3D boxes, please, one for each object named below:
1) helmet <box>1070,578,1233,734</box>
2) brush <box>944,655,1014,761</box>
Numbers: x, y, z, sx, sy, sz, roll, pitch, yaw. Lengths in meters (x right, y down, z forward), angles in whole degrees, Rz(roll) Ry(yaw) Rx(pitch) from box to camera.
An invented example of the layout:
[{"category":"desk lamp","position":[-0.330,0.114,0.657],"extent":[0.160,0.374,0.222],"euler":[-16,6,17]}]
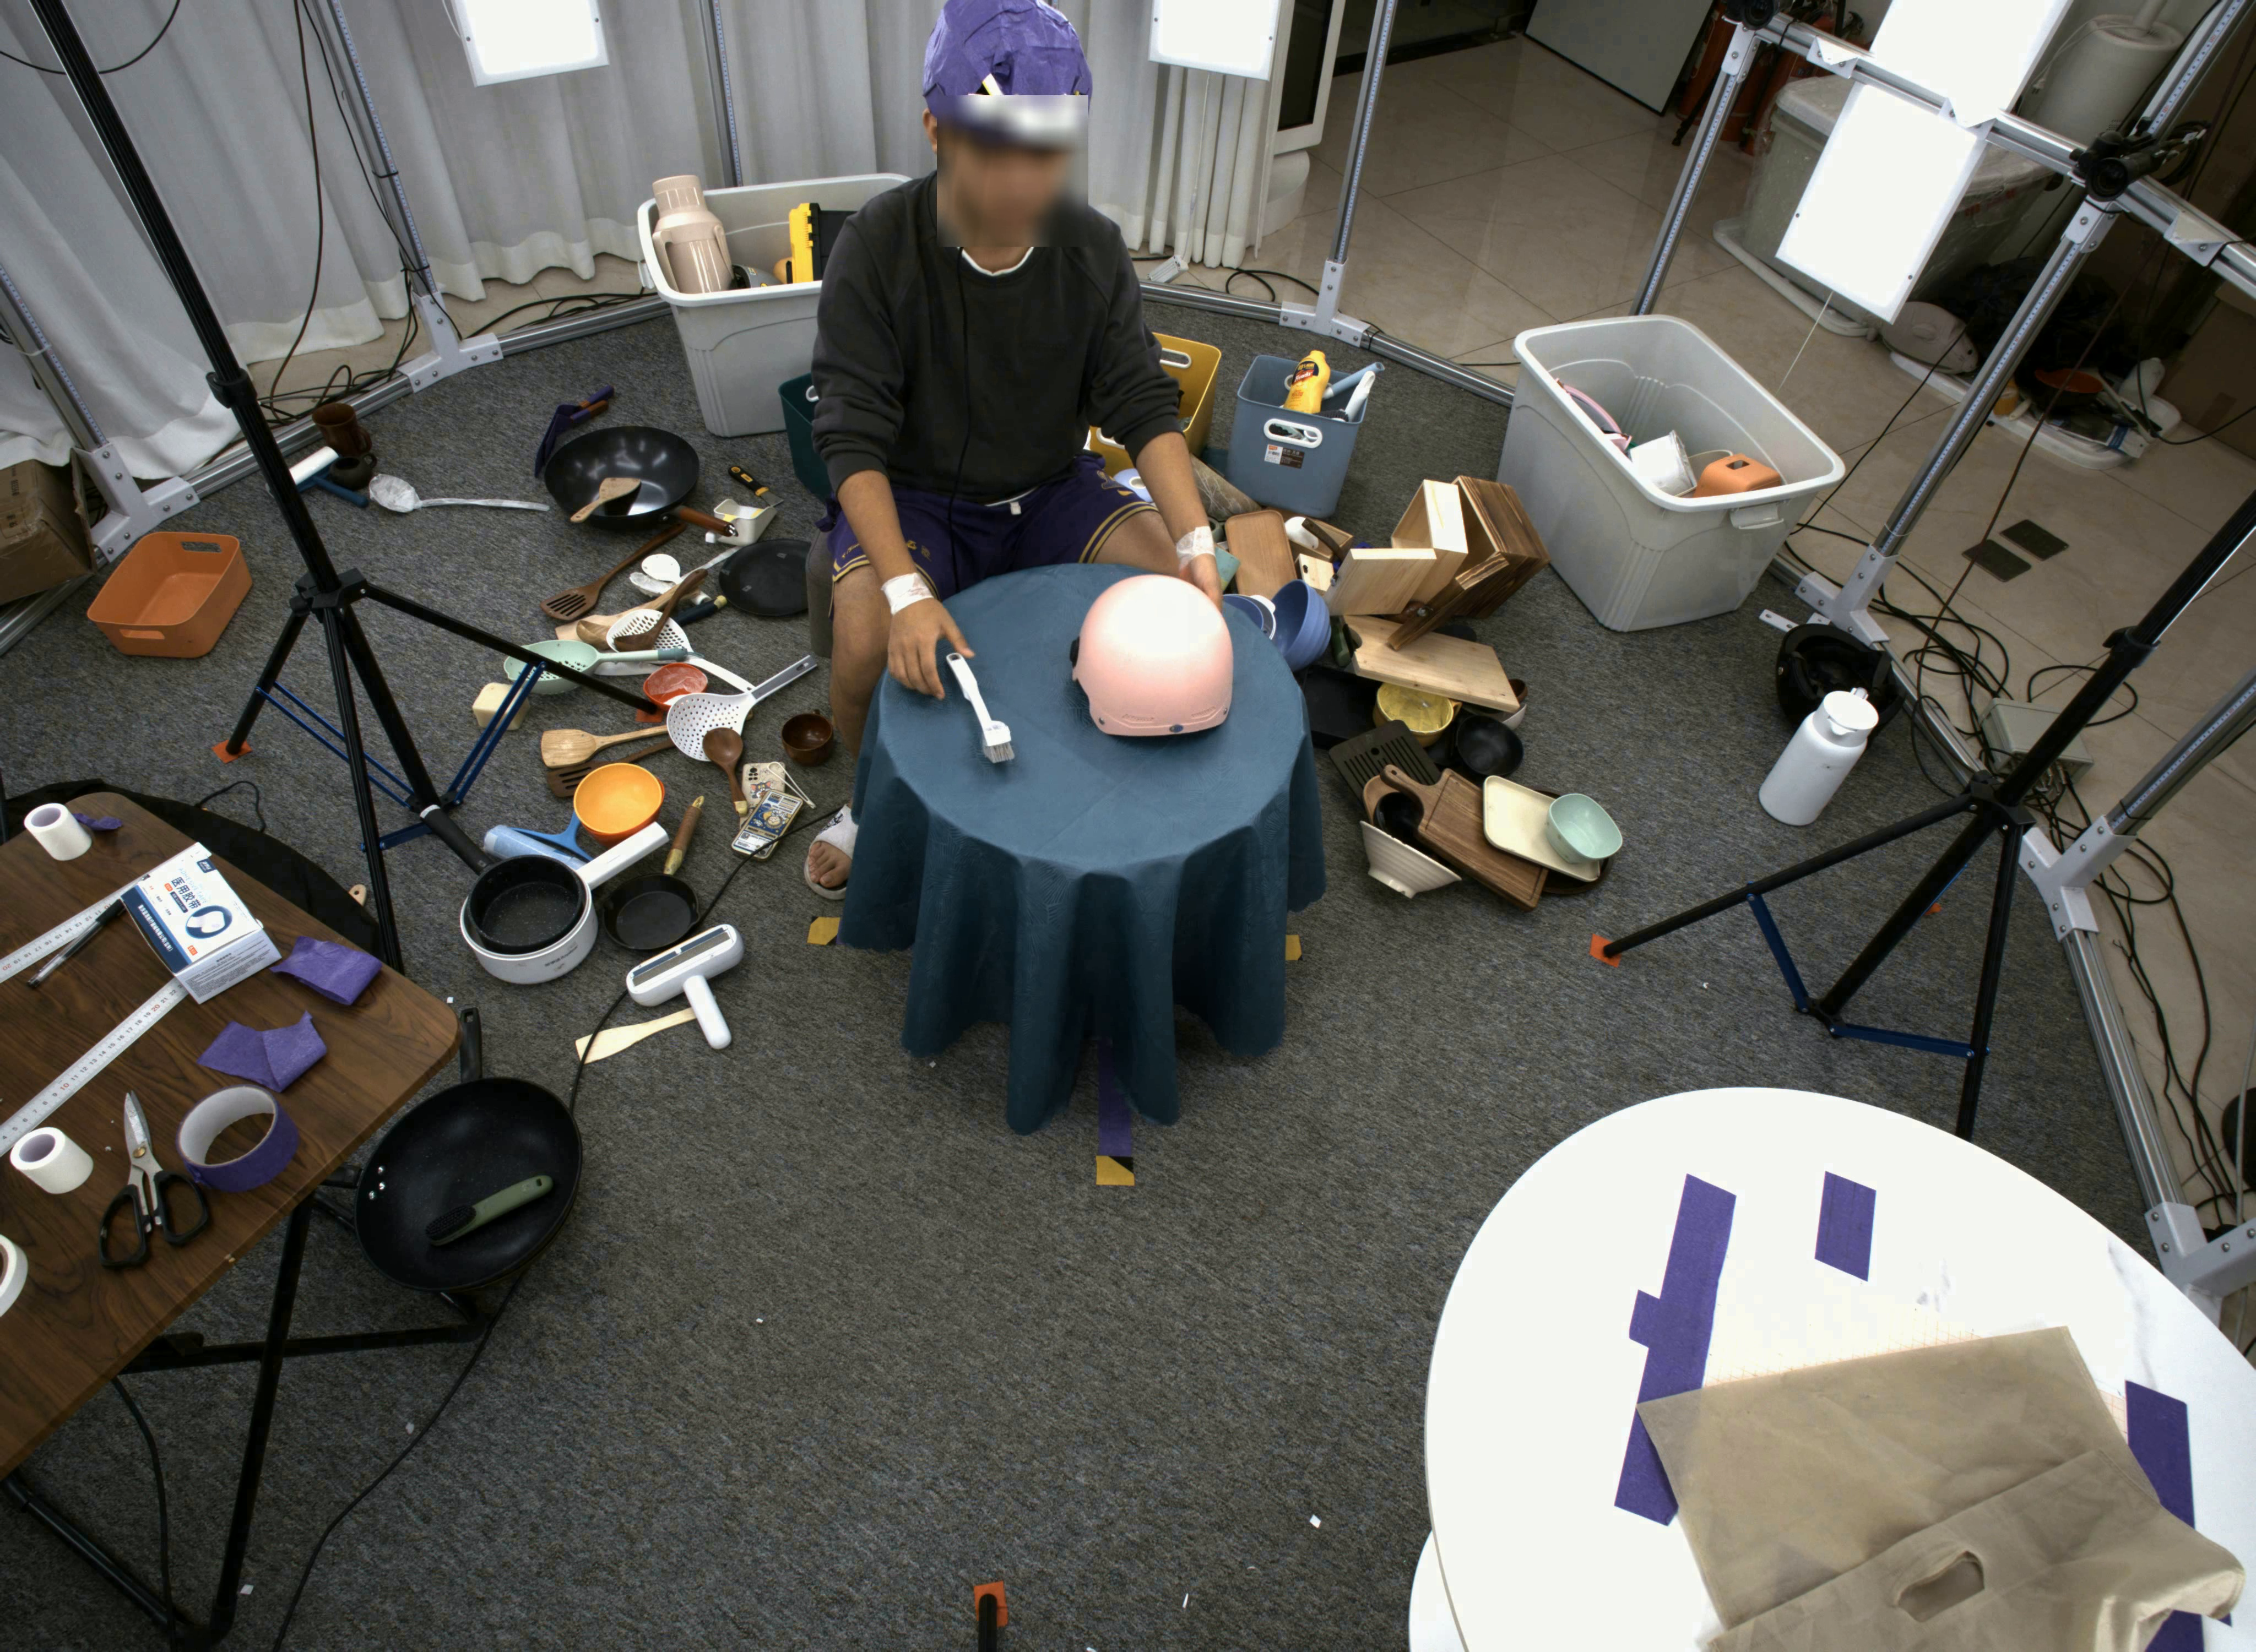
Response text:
[{"category":"helmet","position":[0.038,-0.258,1.787],"extent":[0.234,0.155,0.272],"euler":[-7,50,-8]},{"category":"brush","position":[-0.209,-0.163,1.779],"extent":[0.034,0.049,0.249],"euler":[-18,39,-14]}]
